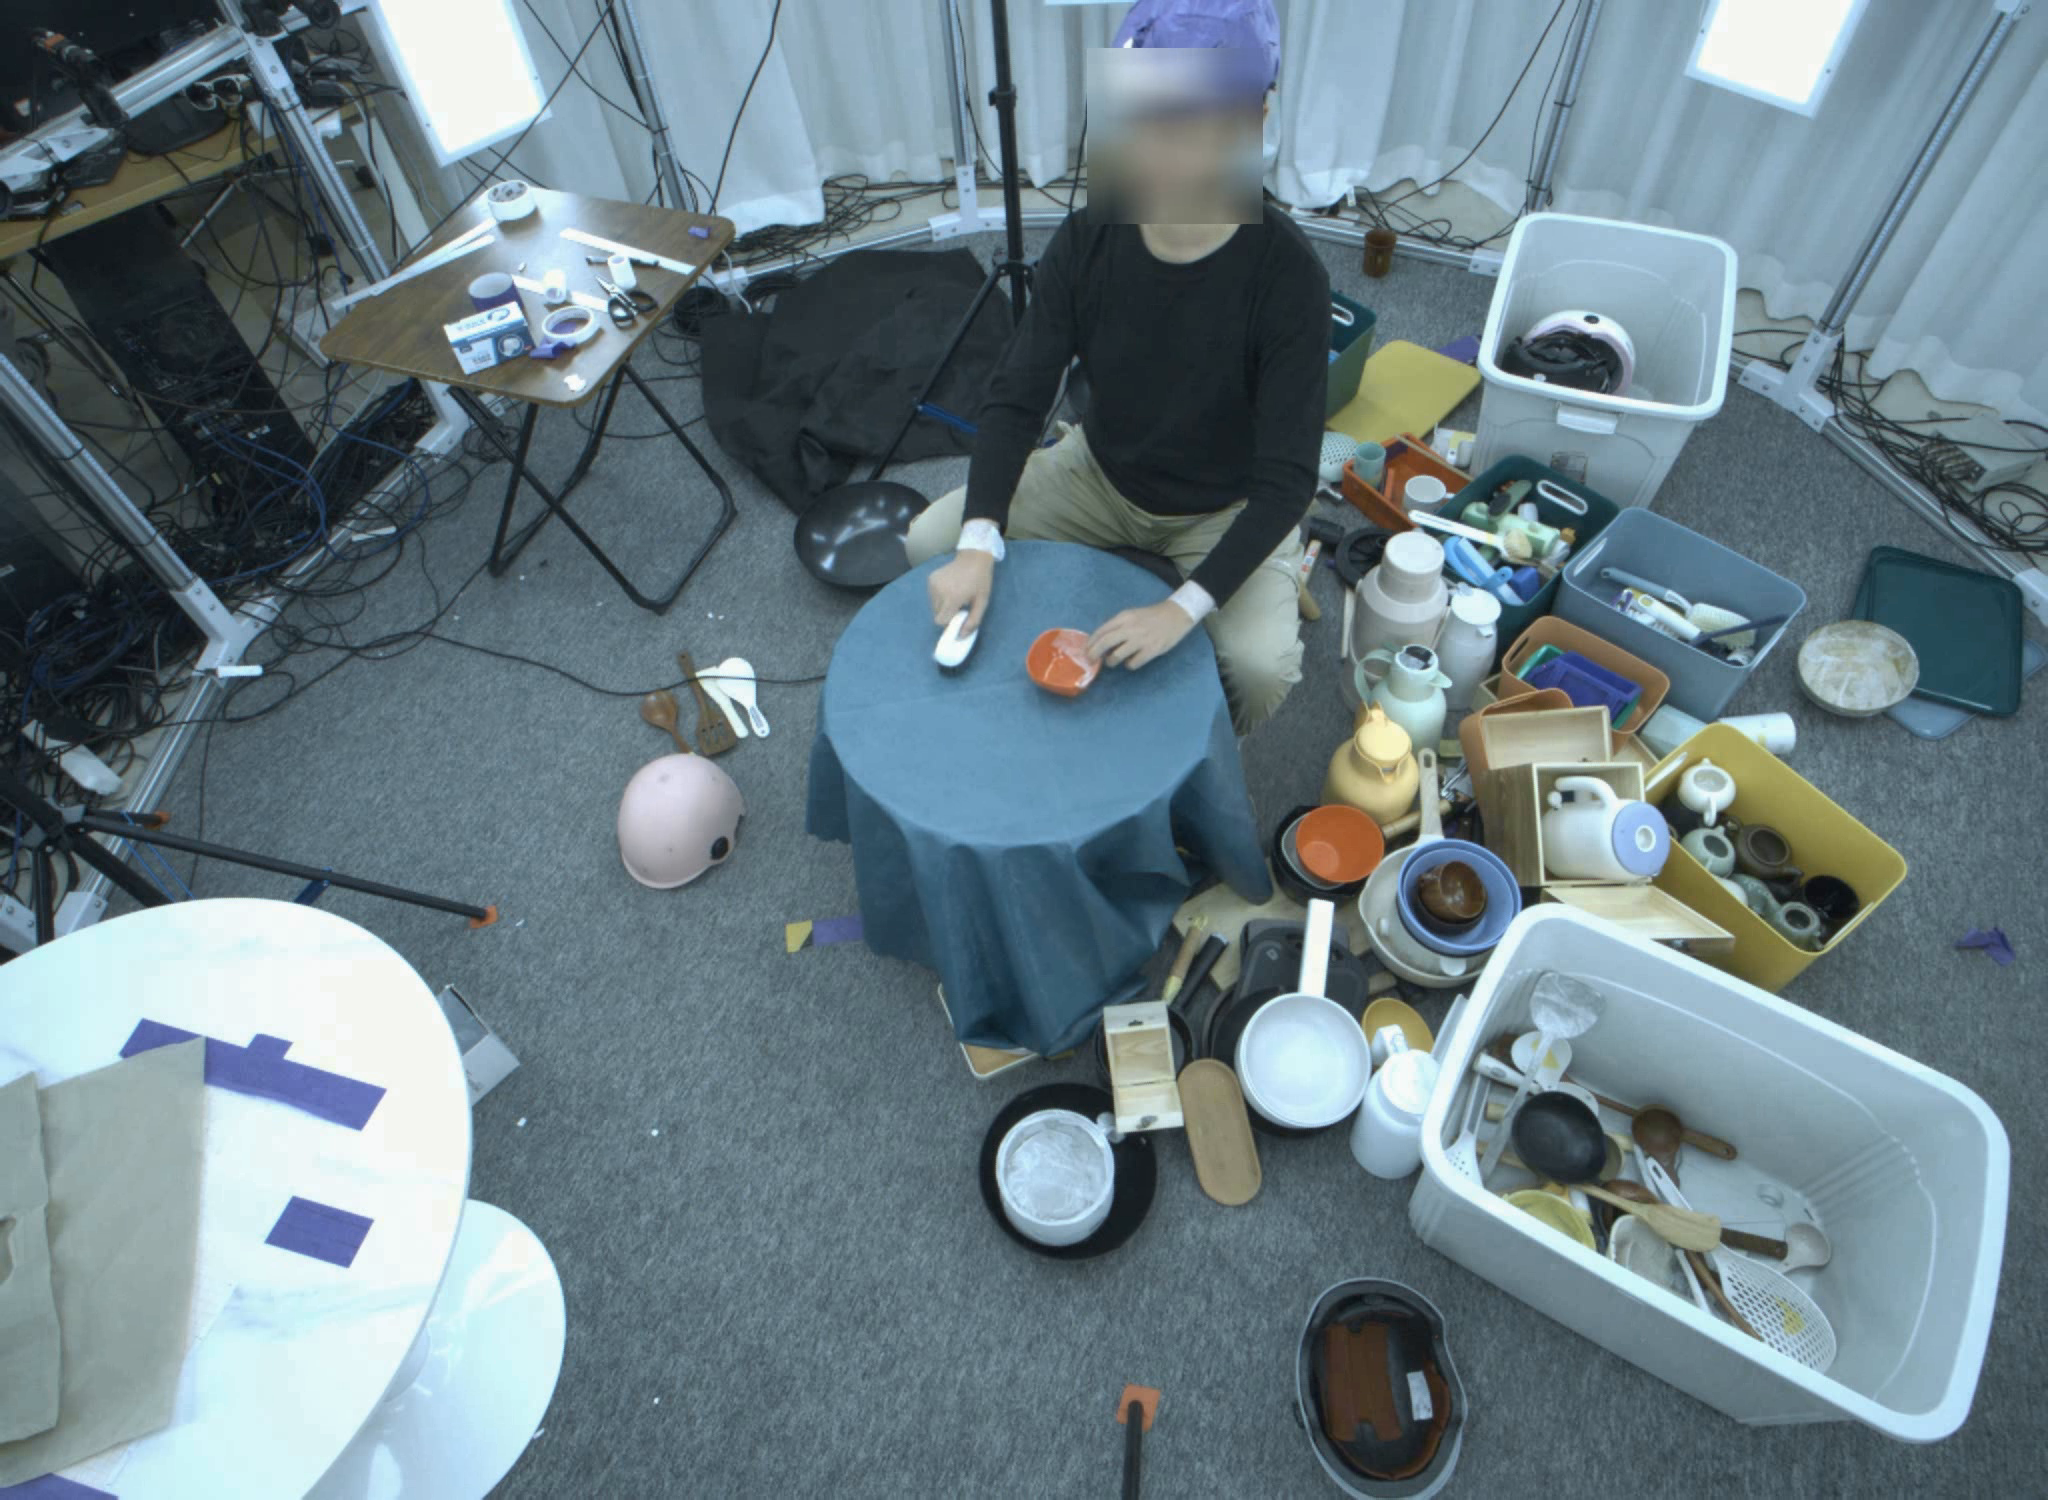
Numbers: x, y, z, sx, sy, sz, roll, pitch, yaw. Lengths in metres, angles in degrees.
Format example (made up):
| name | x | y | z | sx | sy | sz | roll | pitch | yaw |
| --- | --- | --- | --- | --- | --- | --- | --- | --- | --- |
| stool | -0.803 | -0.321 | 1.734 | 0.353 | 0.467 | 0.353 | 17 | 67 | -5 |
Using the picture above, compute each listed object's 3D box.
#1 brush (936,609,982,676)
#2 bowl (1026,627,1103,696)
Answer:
| name | x | y | z | sx | sy | sz | roll | pitch | yaw |
| --- | --- | --- | --- | --- | --- | --- | --- | --- | --- |
| brush | -0.102 | -0.171 | 1.867 | 0.050 | 0.073 | 0.099 | 16 | 57 | 16 |
| bowl | 0.063 | -0.125 | 1.841 | 0.118 | 0.052 | 0.118 | -2 | 57 | 4 |
